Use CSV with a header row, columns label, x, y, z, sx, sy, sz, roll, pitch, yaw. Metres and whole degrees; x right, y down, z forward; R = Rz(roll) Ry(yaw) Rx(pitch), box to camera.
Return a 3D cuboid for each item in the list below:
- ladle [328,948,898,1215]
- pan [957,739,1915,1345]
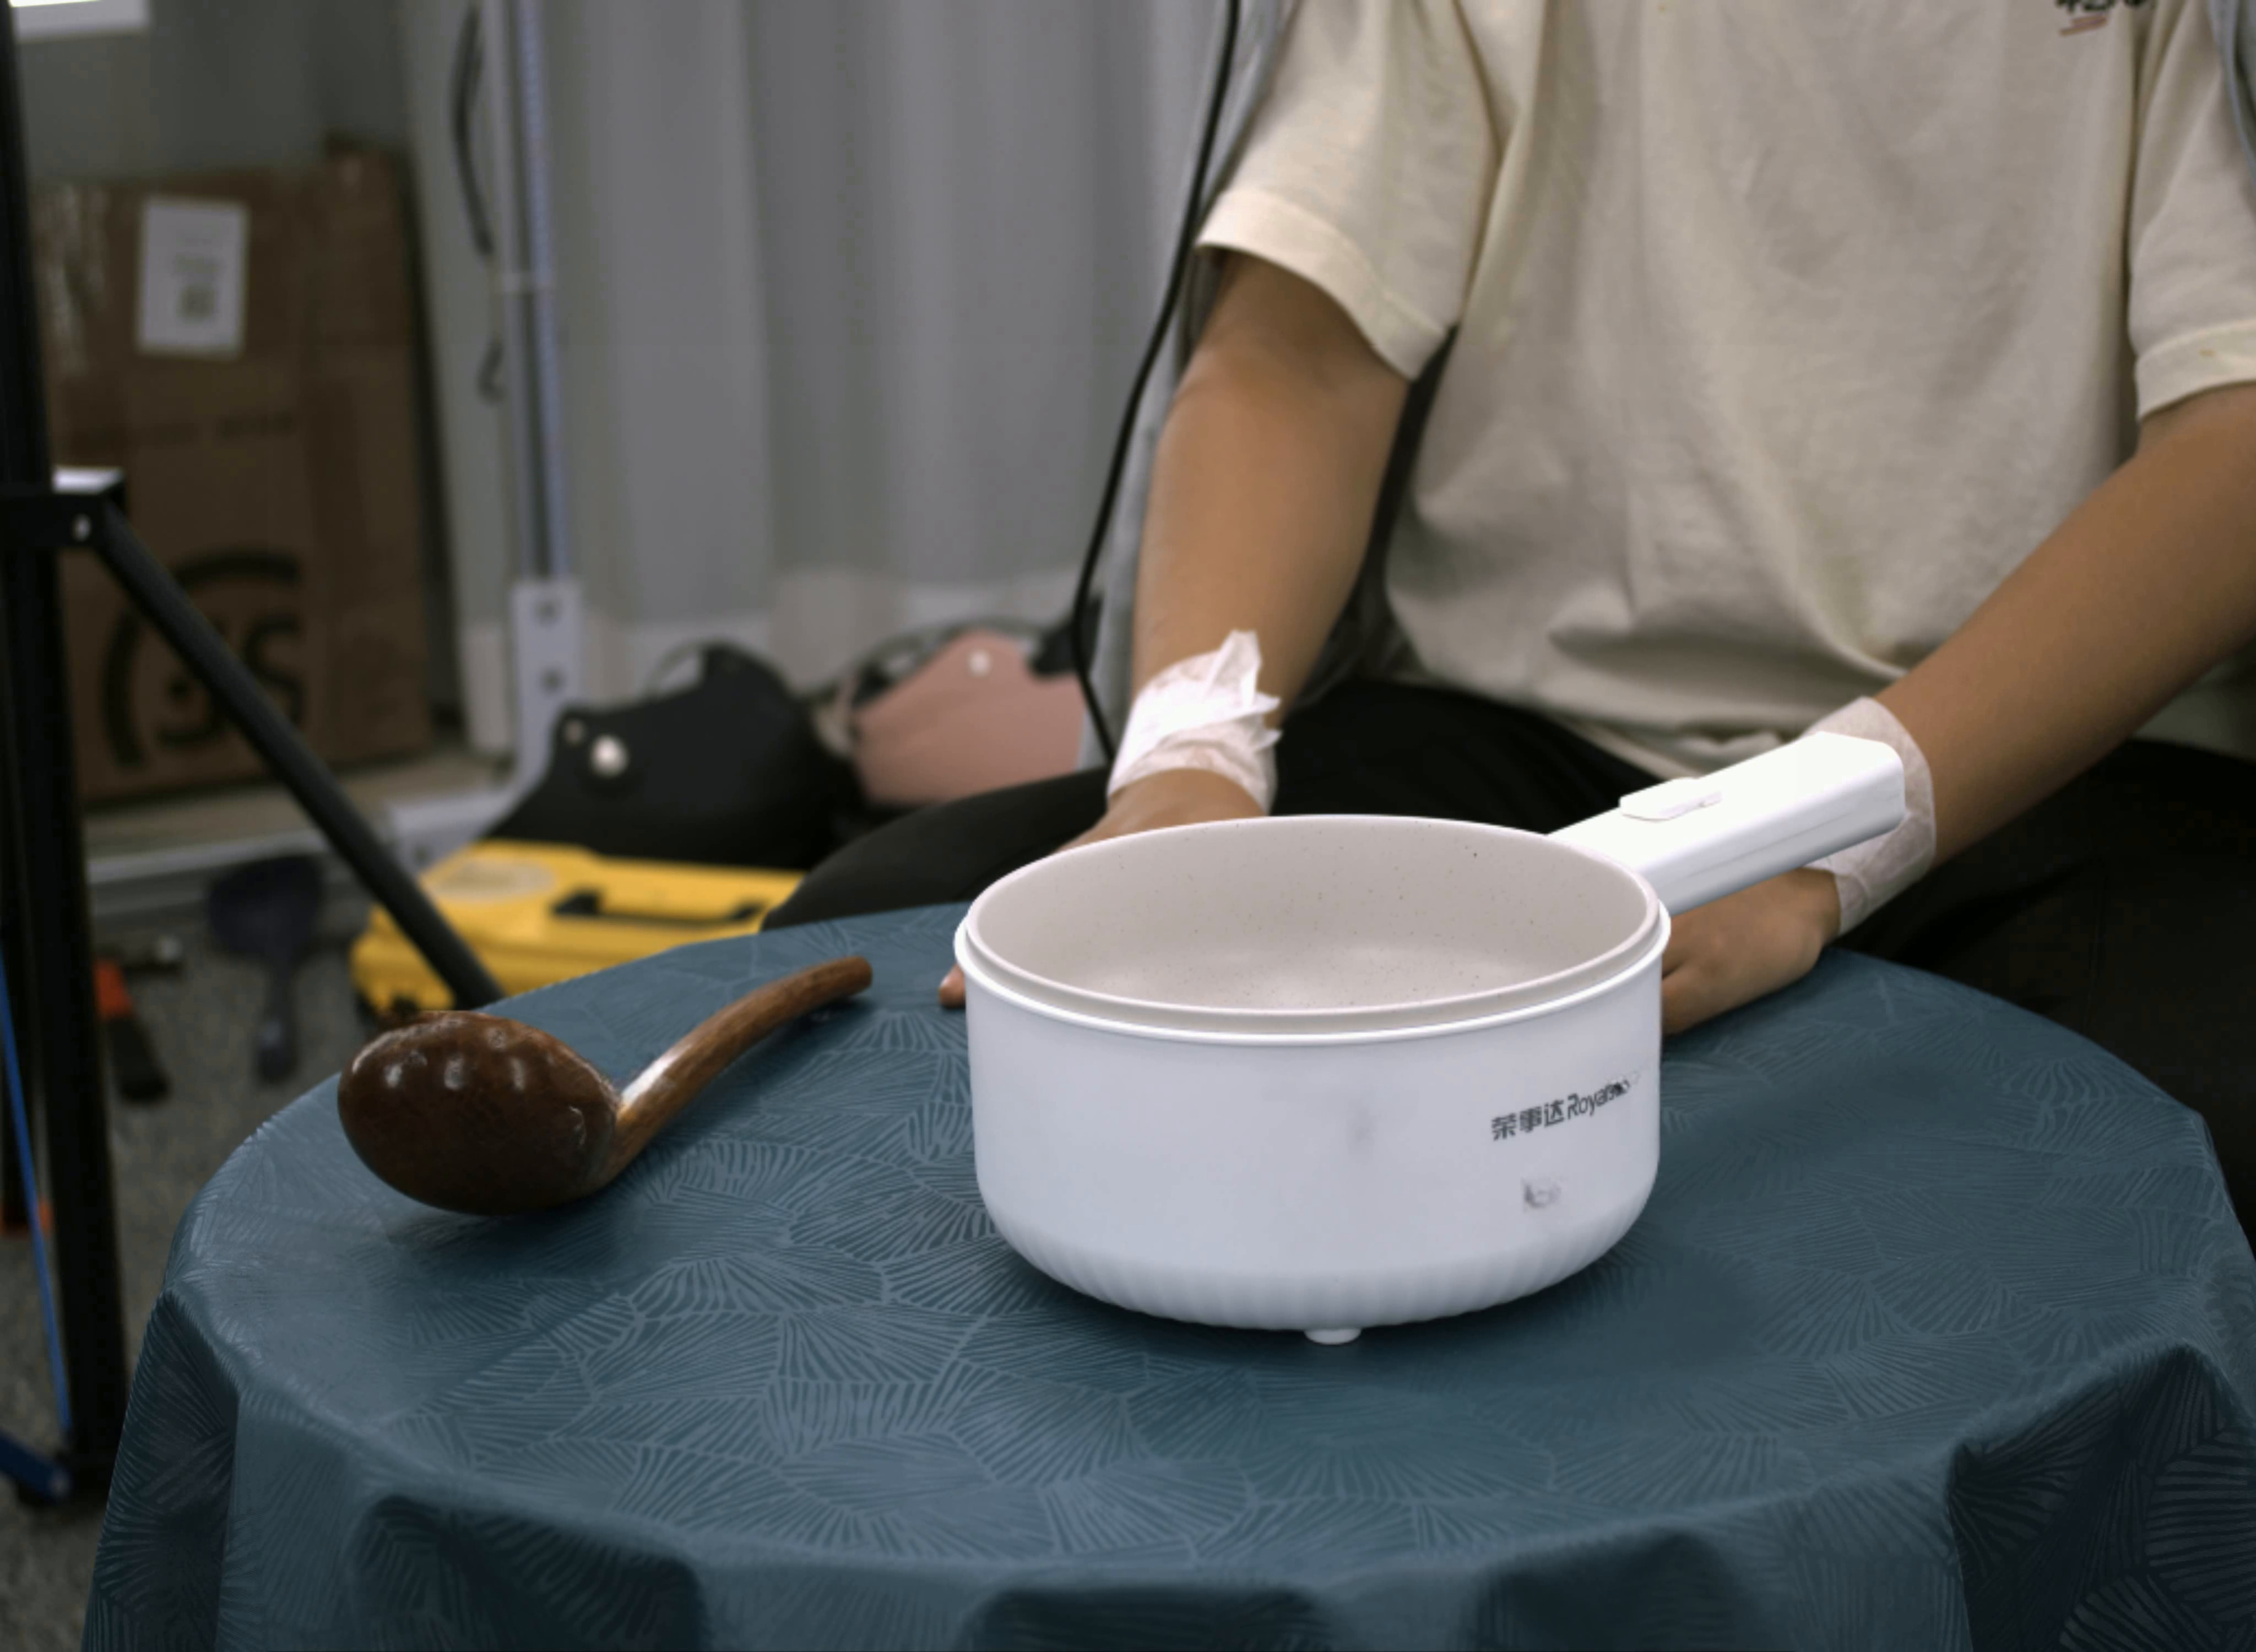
label,x,y,z,sx,sy,sz,roll,pitch,yaw
ladle,-0.149,0.054,1.628,0.083,0.076,0.270,-8,13,27
pan,0.107,0.056,1.543,0.346,0.102,0.206,-16,19,-42
